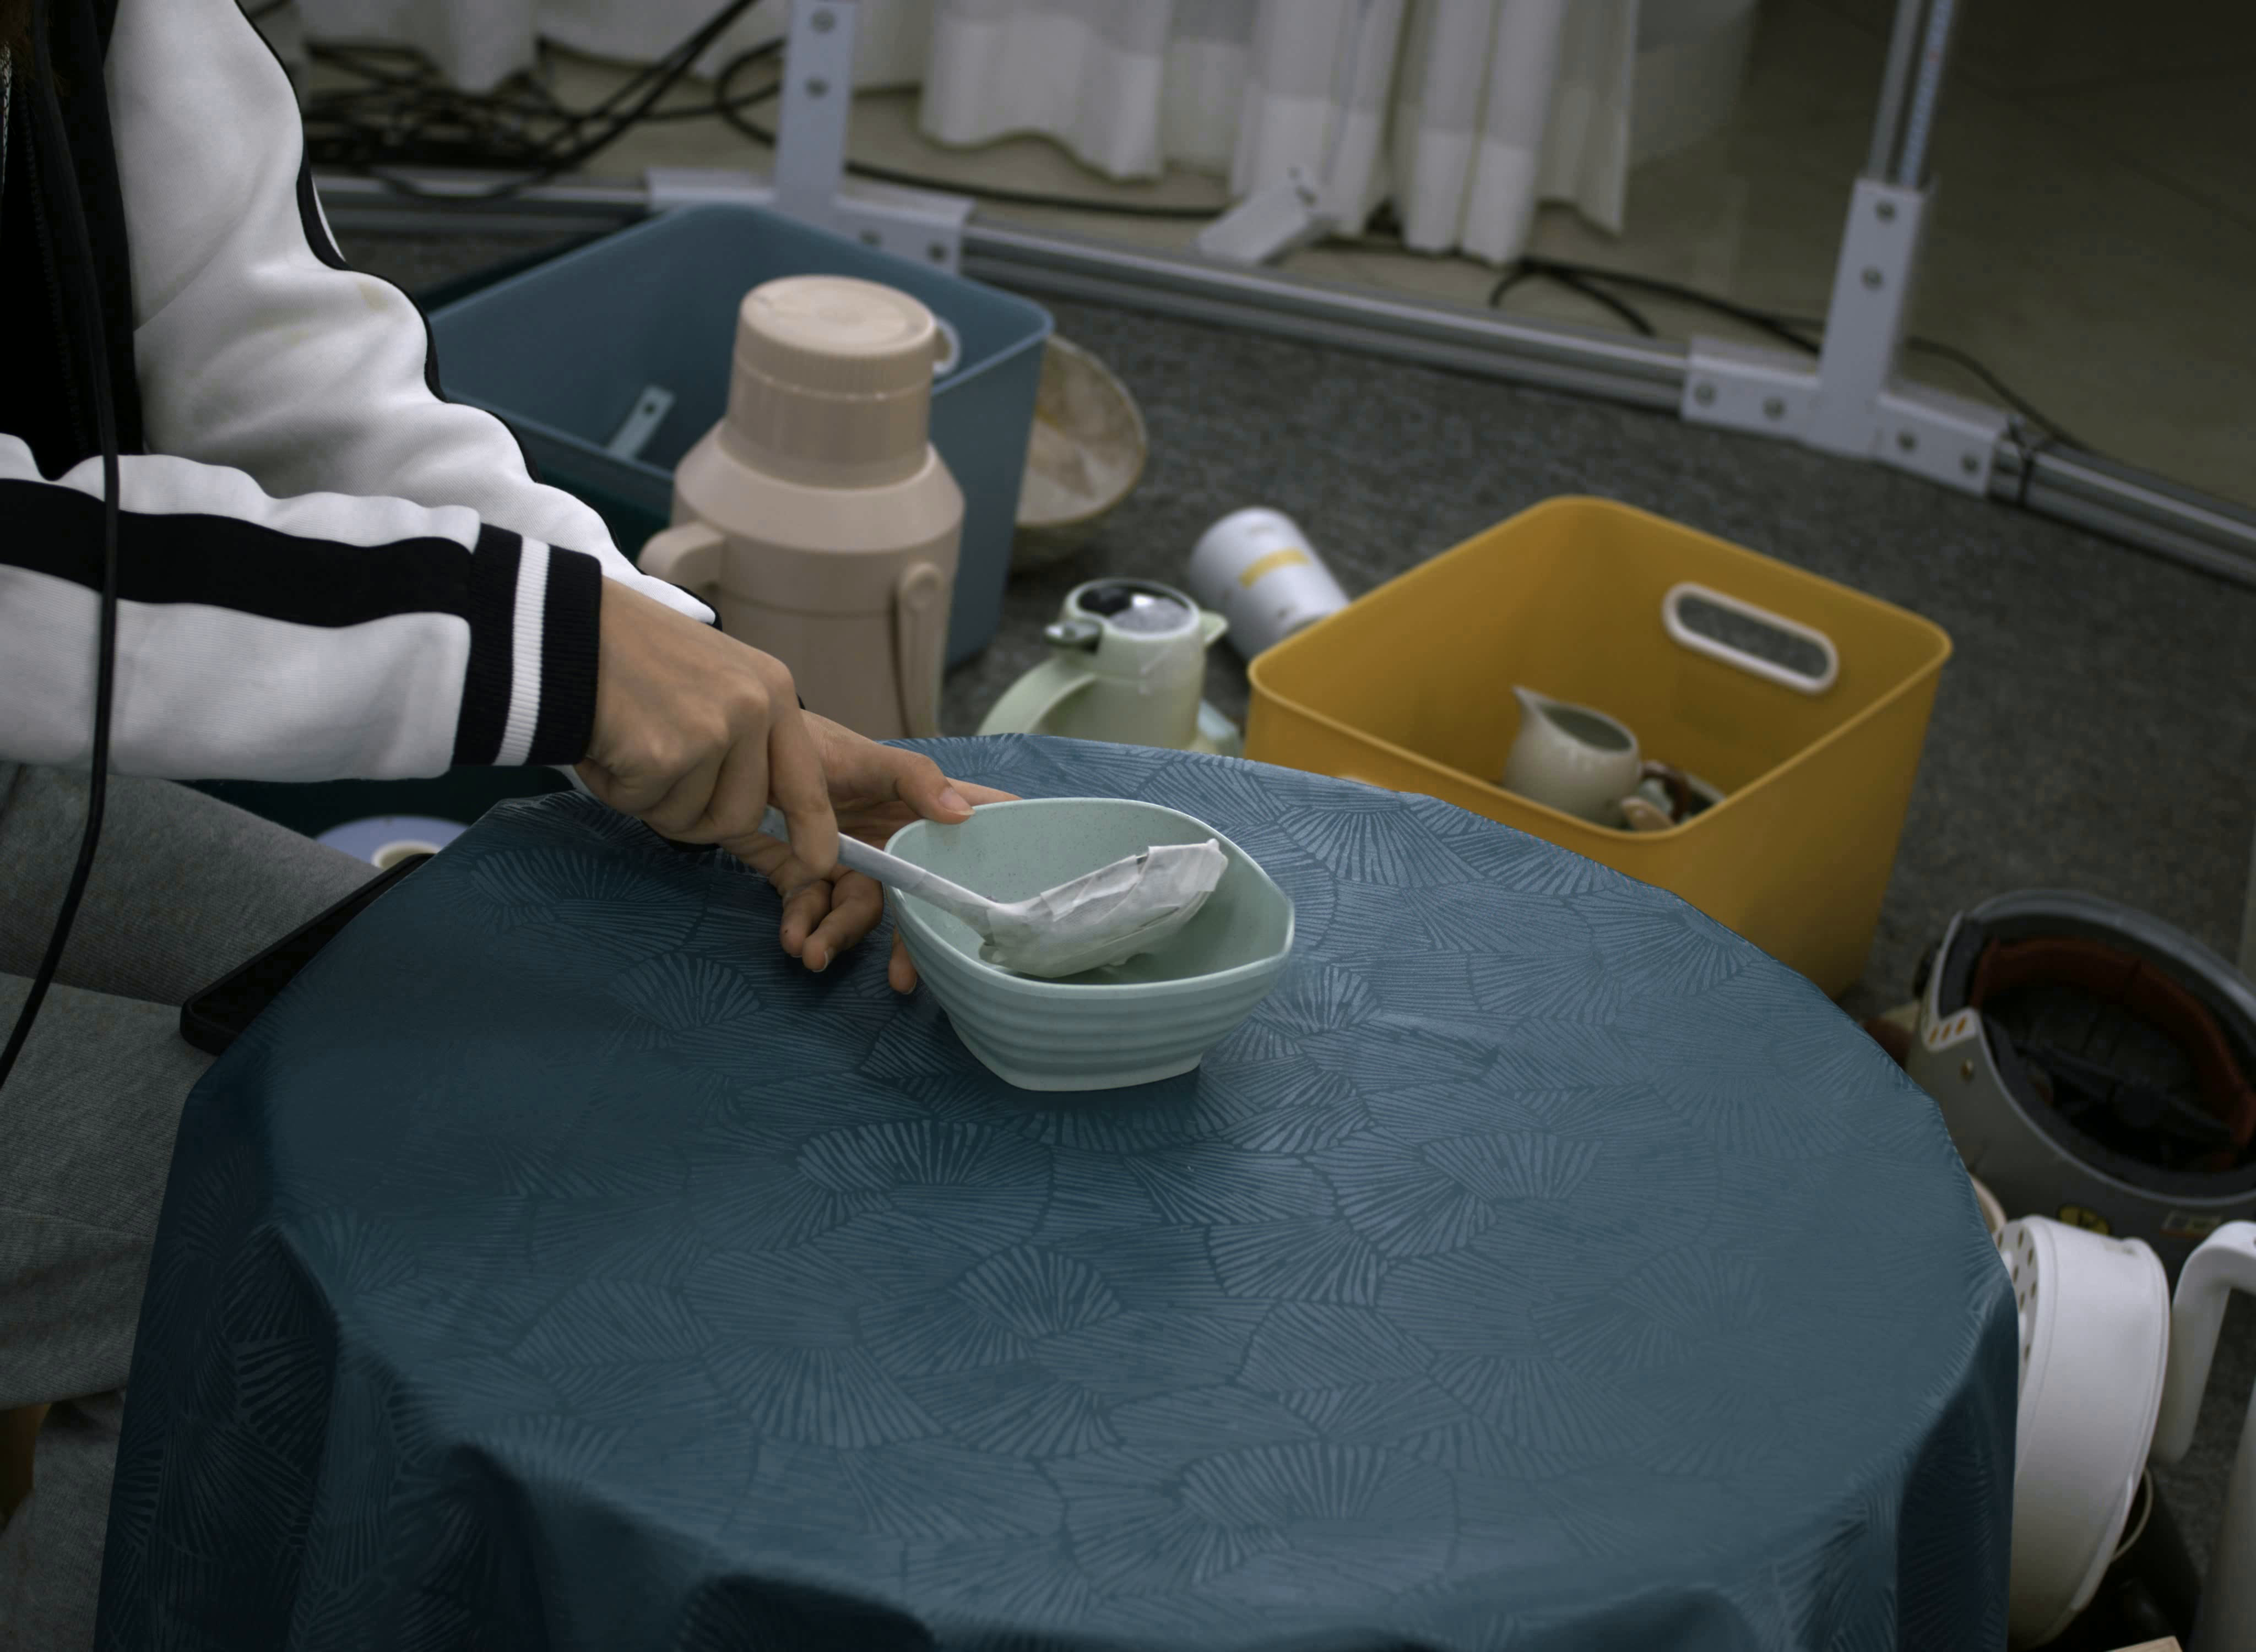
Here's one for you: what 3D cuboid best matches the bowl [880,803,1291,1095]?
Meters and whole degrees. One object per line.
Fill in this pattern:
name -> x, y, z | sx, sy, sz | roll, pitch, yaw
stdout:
bowl -> -0.018, 0.049, 1.886 | 0.151, 0.058, 0.152 | 5, 27, -3

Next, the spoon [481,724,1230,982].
spoon -> -0.096, -0.003, 1.869 | 0.275, 0.100, 0.060 | 21, 50, -16
